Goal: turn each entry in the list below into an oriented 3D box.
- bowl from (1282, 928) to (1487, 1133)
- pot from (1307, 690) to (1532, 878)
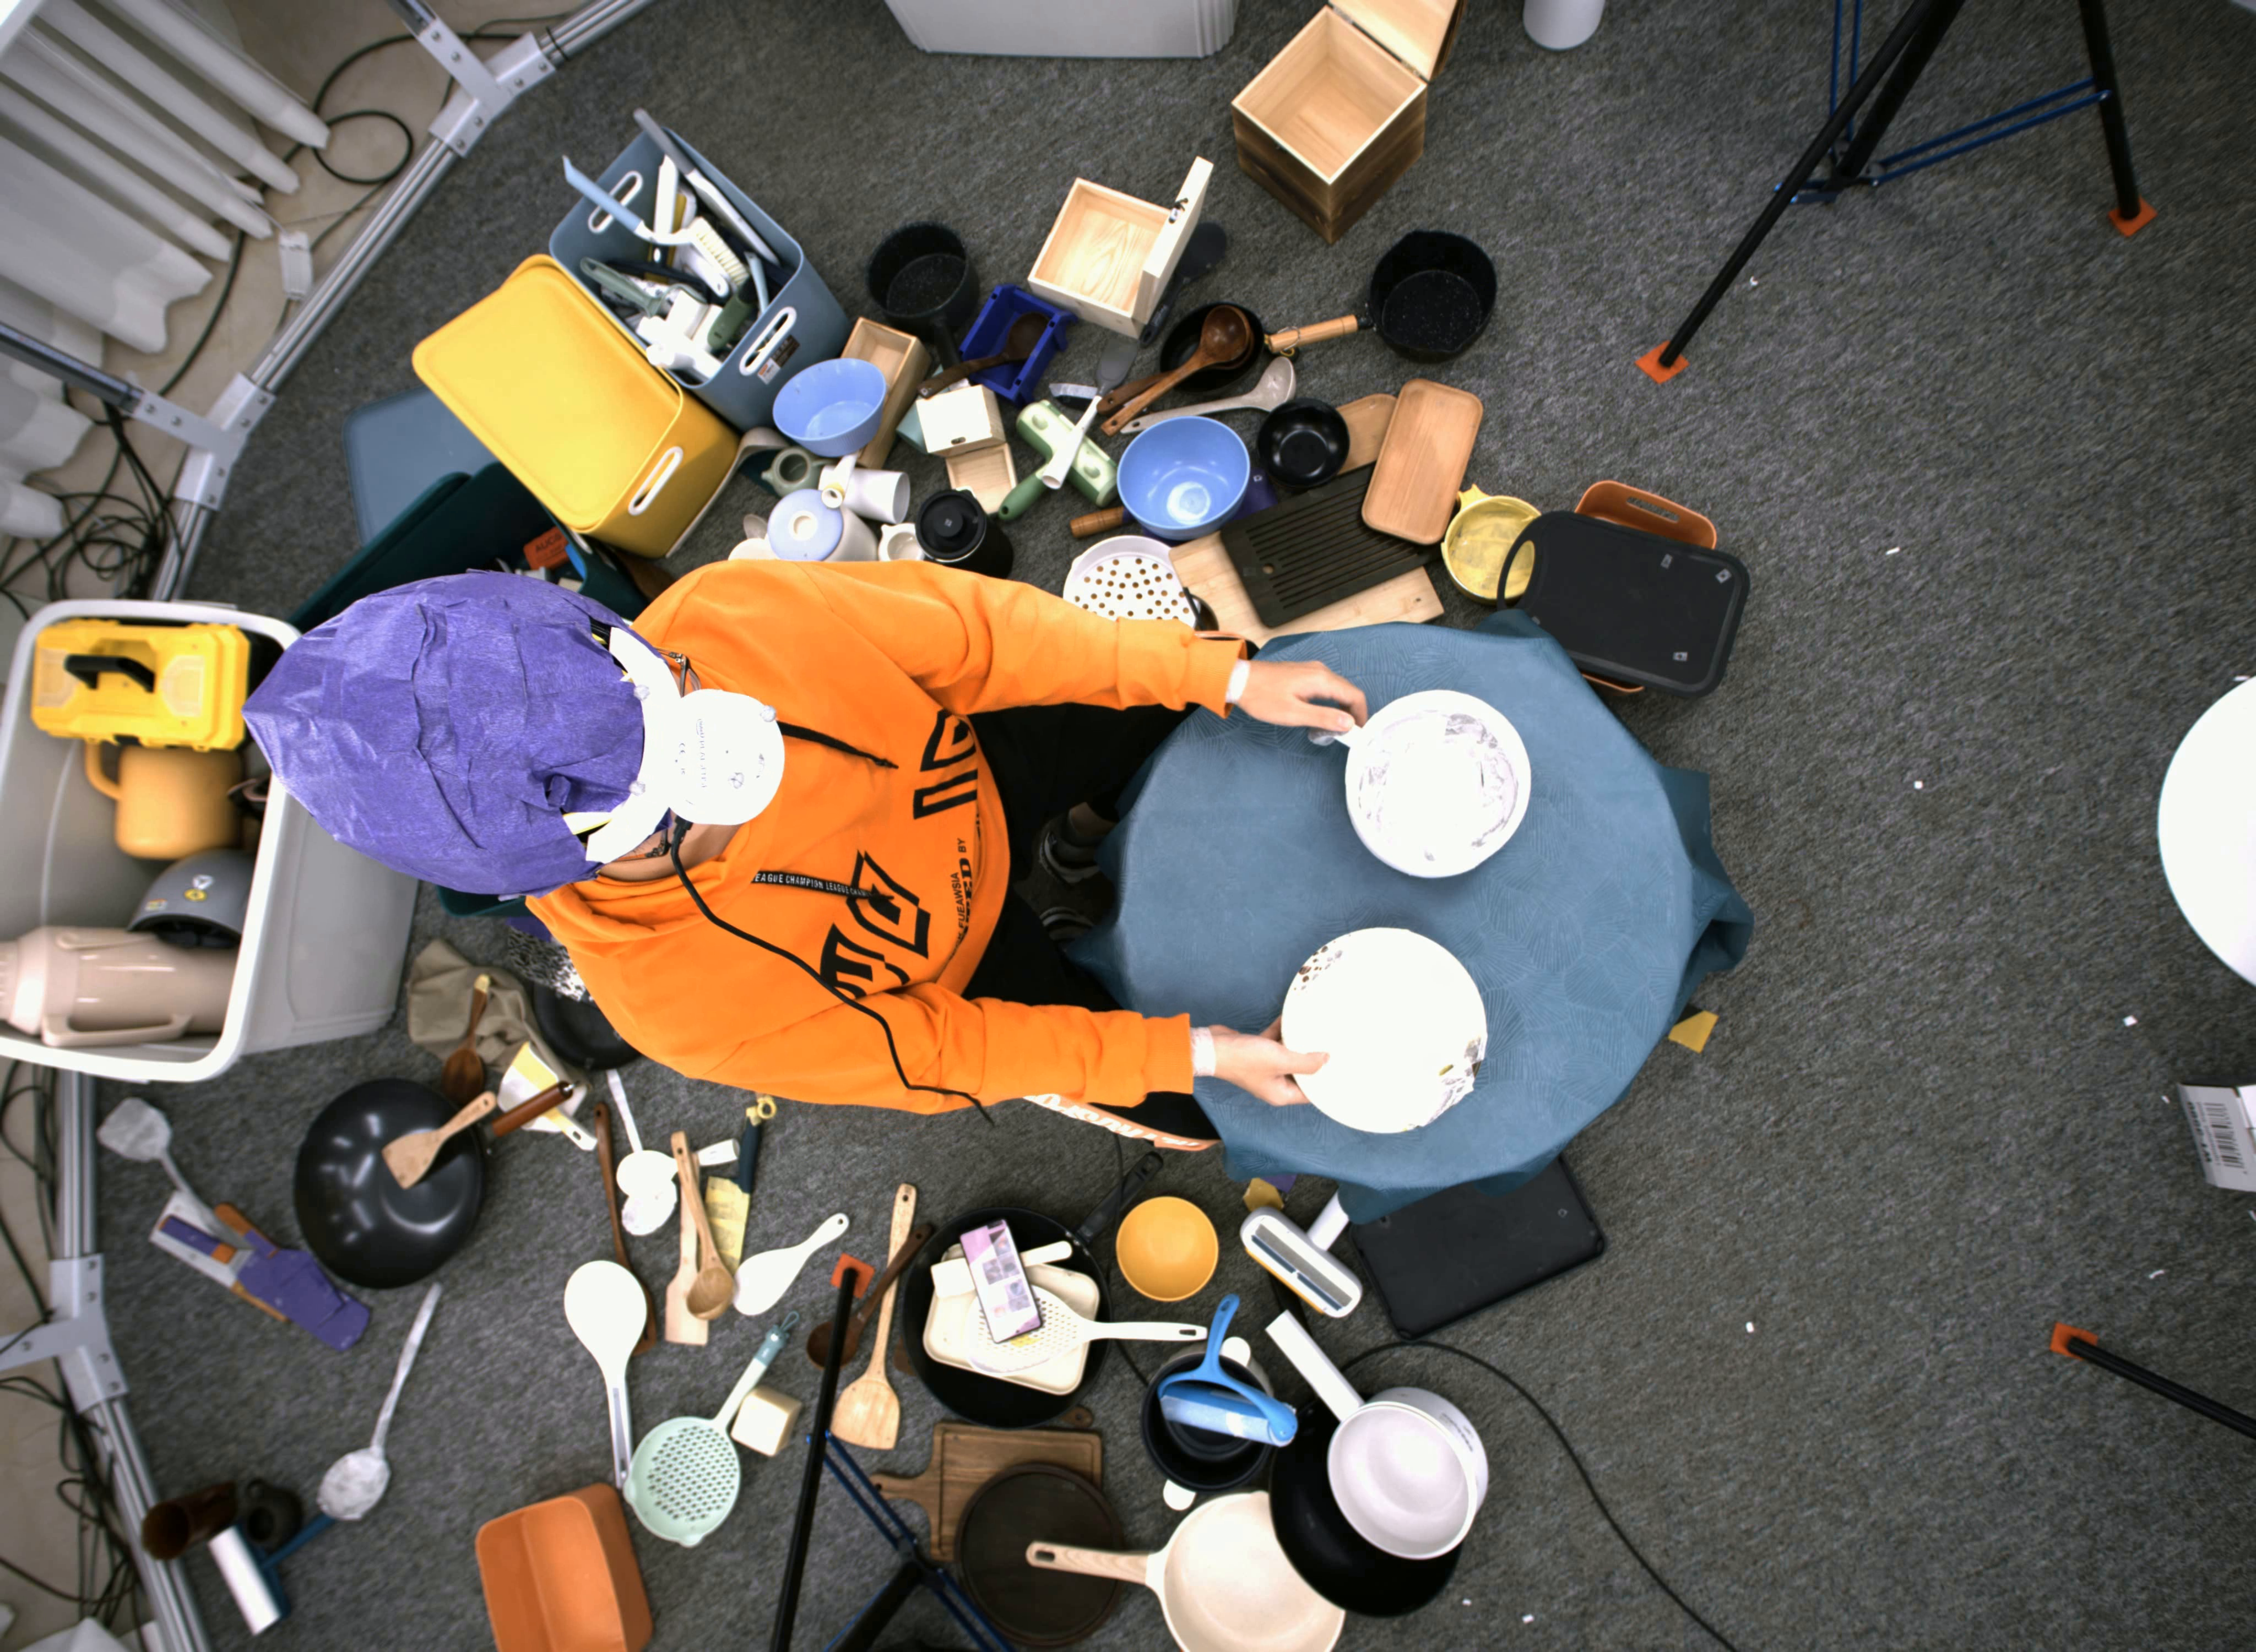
[{"bbox_3d":[0.263,0.206,1.416,0.205,0.078,0.203,-1,86,13],"label":"bowl"},{"bbox_3d":[0.286,-0.053,1.394,0.233,0.137,0.179,30,91,11],"label":"pot"}]
